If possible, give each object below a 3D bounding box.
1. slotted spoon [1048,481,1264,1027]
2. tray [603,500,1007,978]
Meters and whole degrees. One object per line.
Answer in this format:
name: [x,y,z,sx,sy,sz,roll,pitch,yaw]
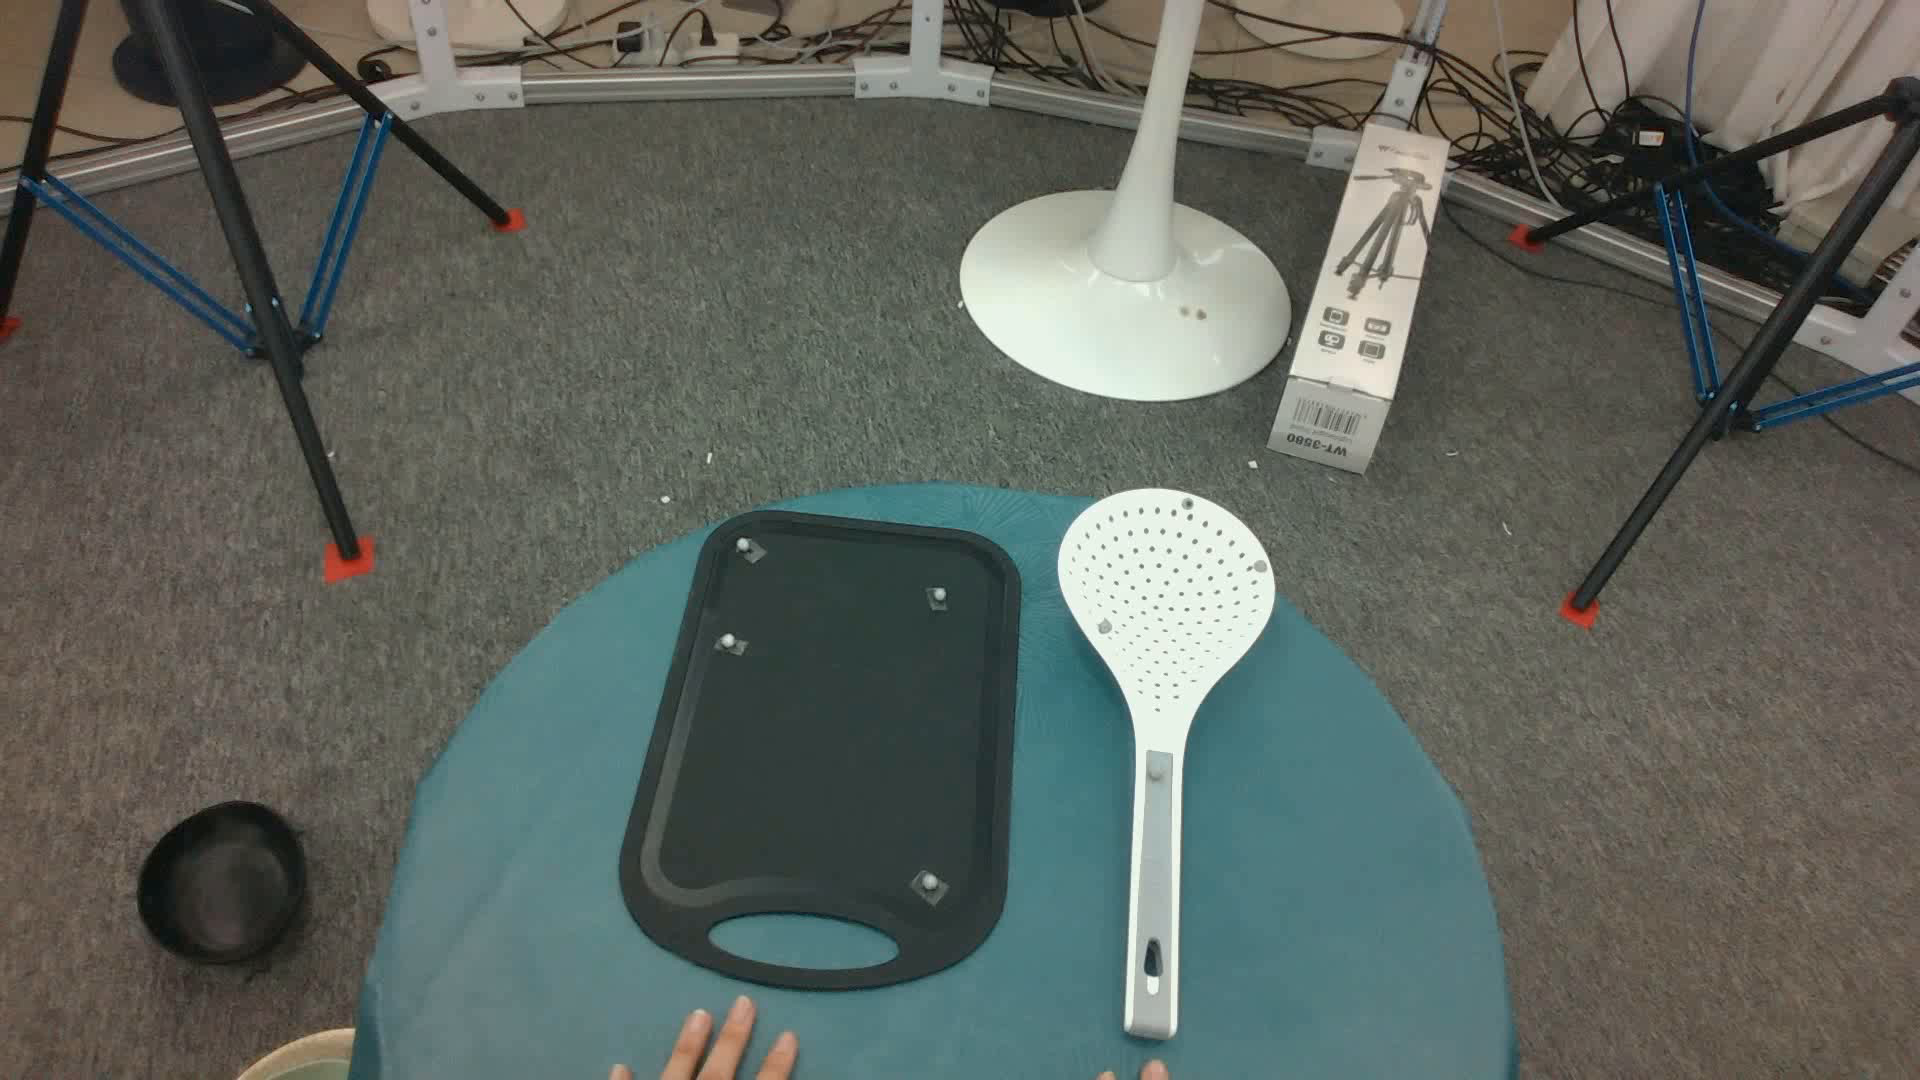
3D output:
slotted spoon: [0.109,0.106,0.803,0.136,0.045,0.351,7,49,2]
tray: [-0.080,0.100,0.809,0.211,0.010,0.327,6,48,-2]
